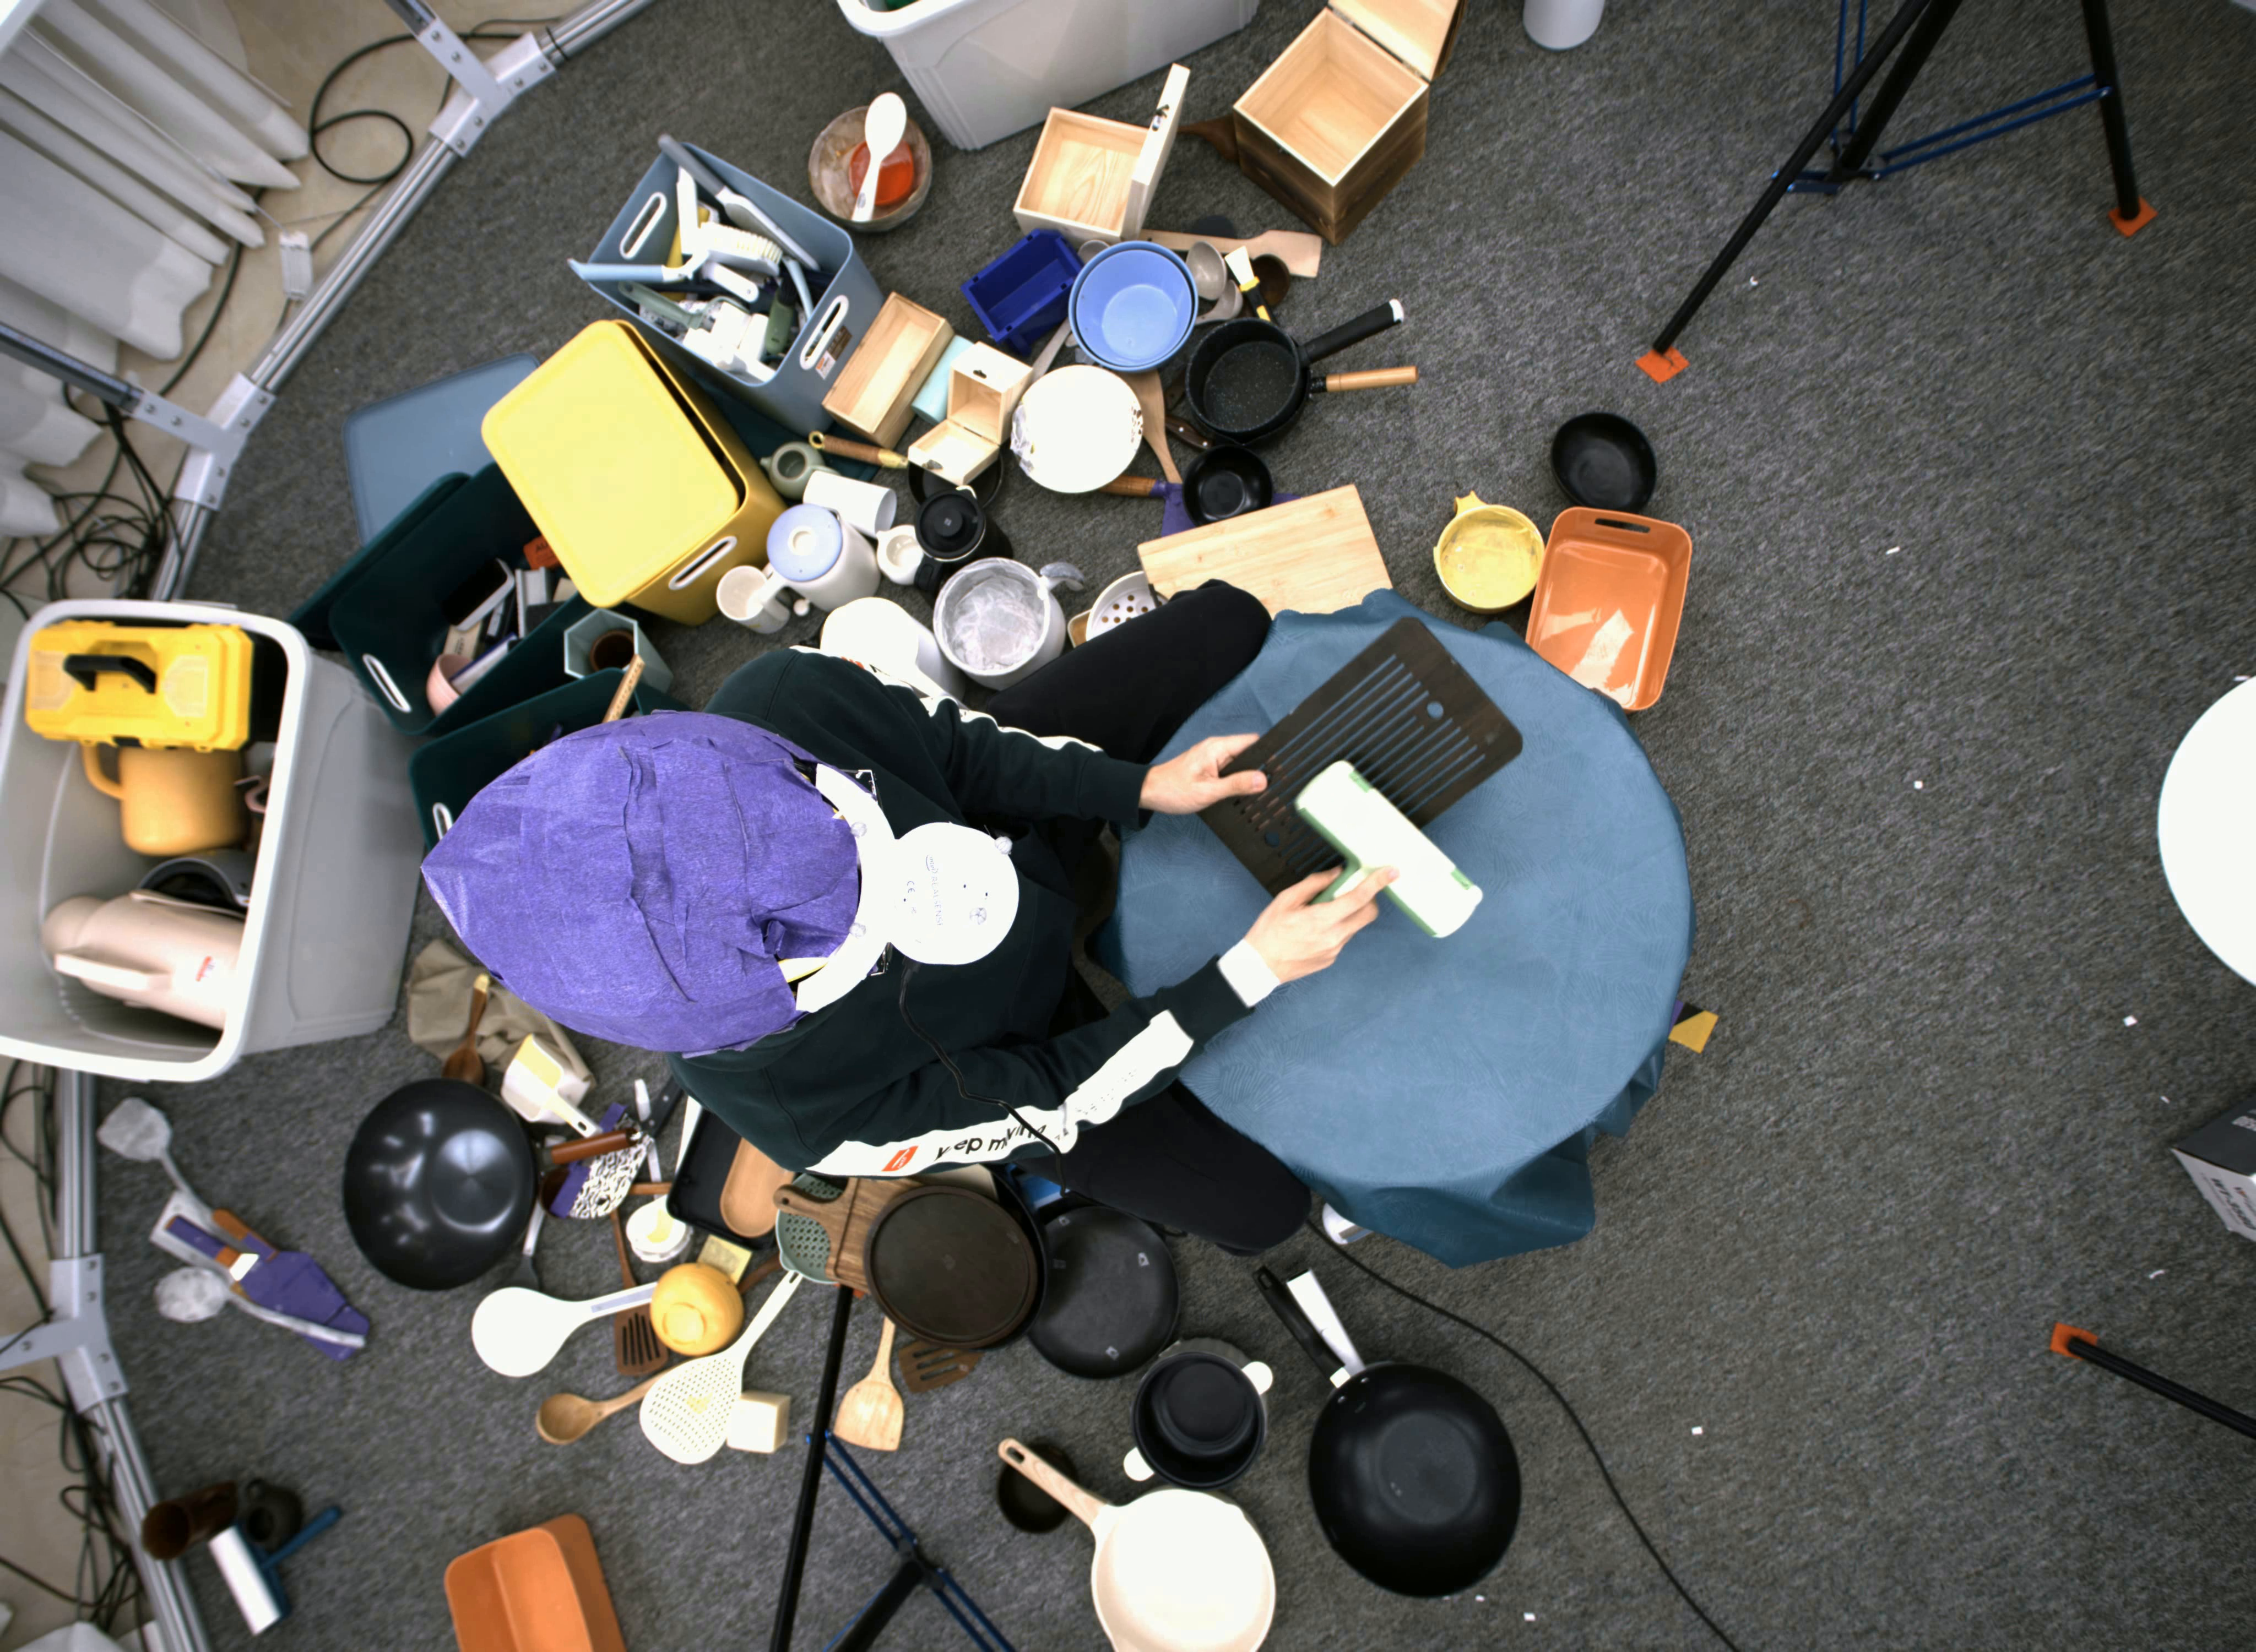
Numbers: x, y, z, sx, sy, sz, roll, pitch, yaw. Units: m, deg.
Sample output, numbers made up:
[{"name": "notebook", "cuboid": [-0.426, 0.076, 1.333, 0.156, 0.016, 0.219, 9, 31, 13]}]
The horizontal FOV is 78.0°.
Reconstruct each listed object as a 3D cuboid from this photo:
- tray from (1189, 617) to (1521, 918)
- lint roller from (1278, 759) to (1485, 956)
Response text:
[{"name": "tray", "cuboid": [0.215, -0.051, 1.344, 0.170, 0.018, 0.312, 47, 122, -5]}, {"name": "lint roller", "cuboid": [0.213, 0.064, 1.327, 0.199, 0.081, 0.185, 44, 99, -5]}]
